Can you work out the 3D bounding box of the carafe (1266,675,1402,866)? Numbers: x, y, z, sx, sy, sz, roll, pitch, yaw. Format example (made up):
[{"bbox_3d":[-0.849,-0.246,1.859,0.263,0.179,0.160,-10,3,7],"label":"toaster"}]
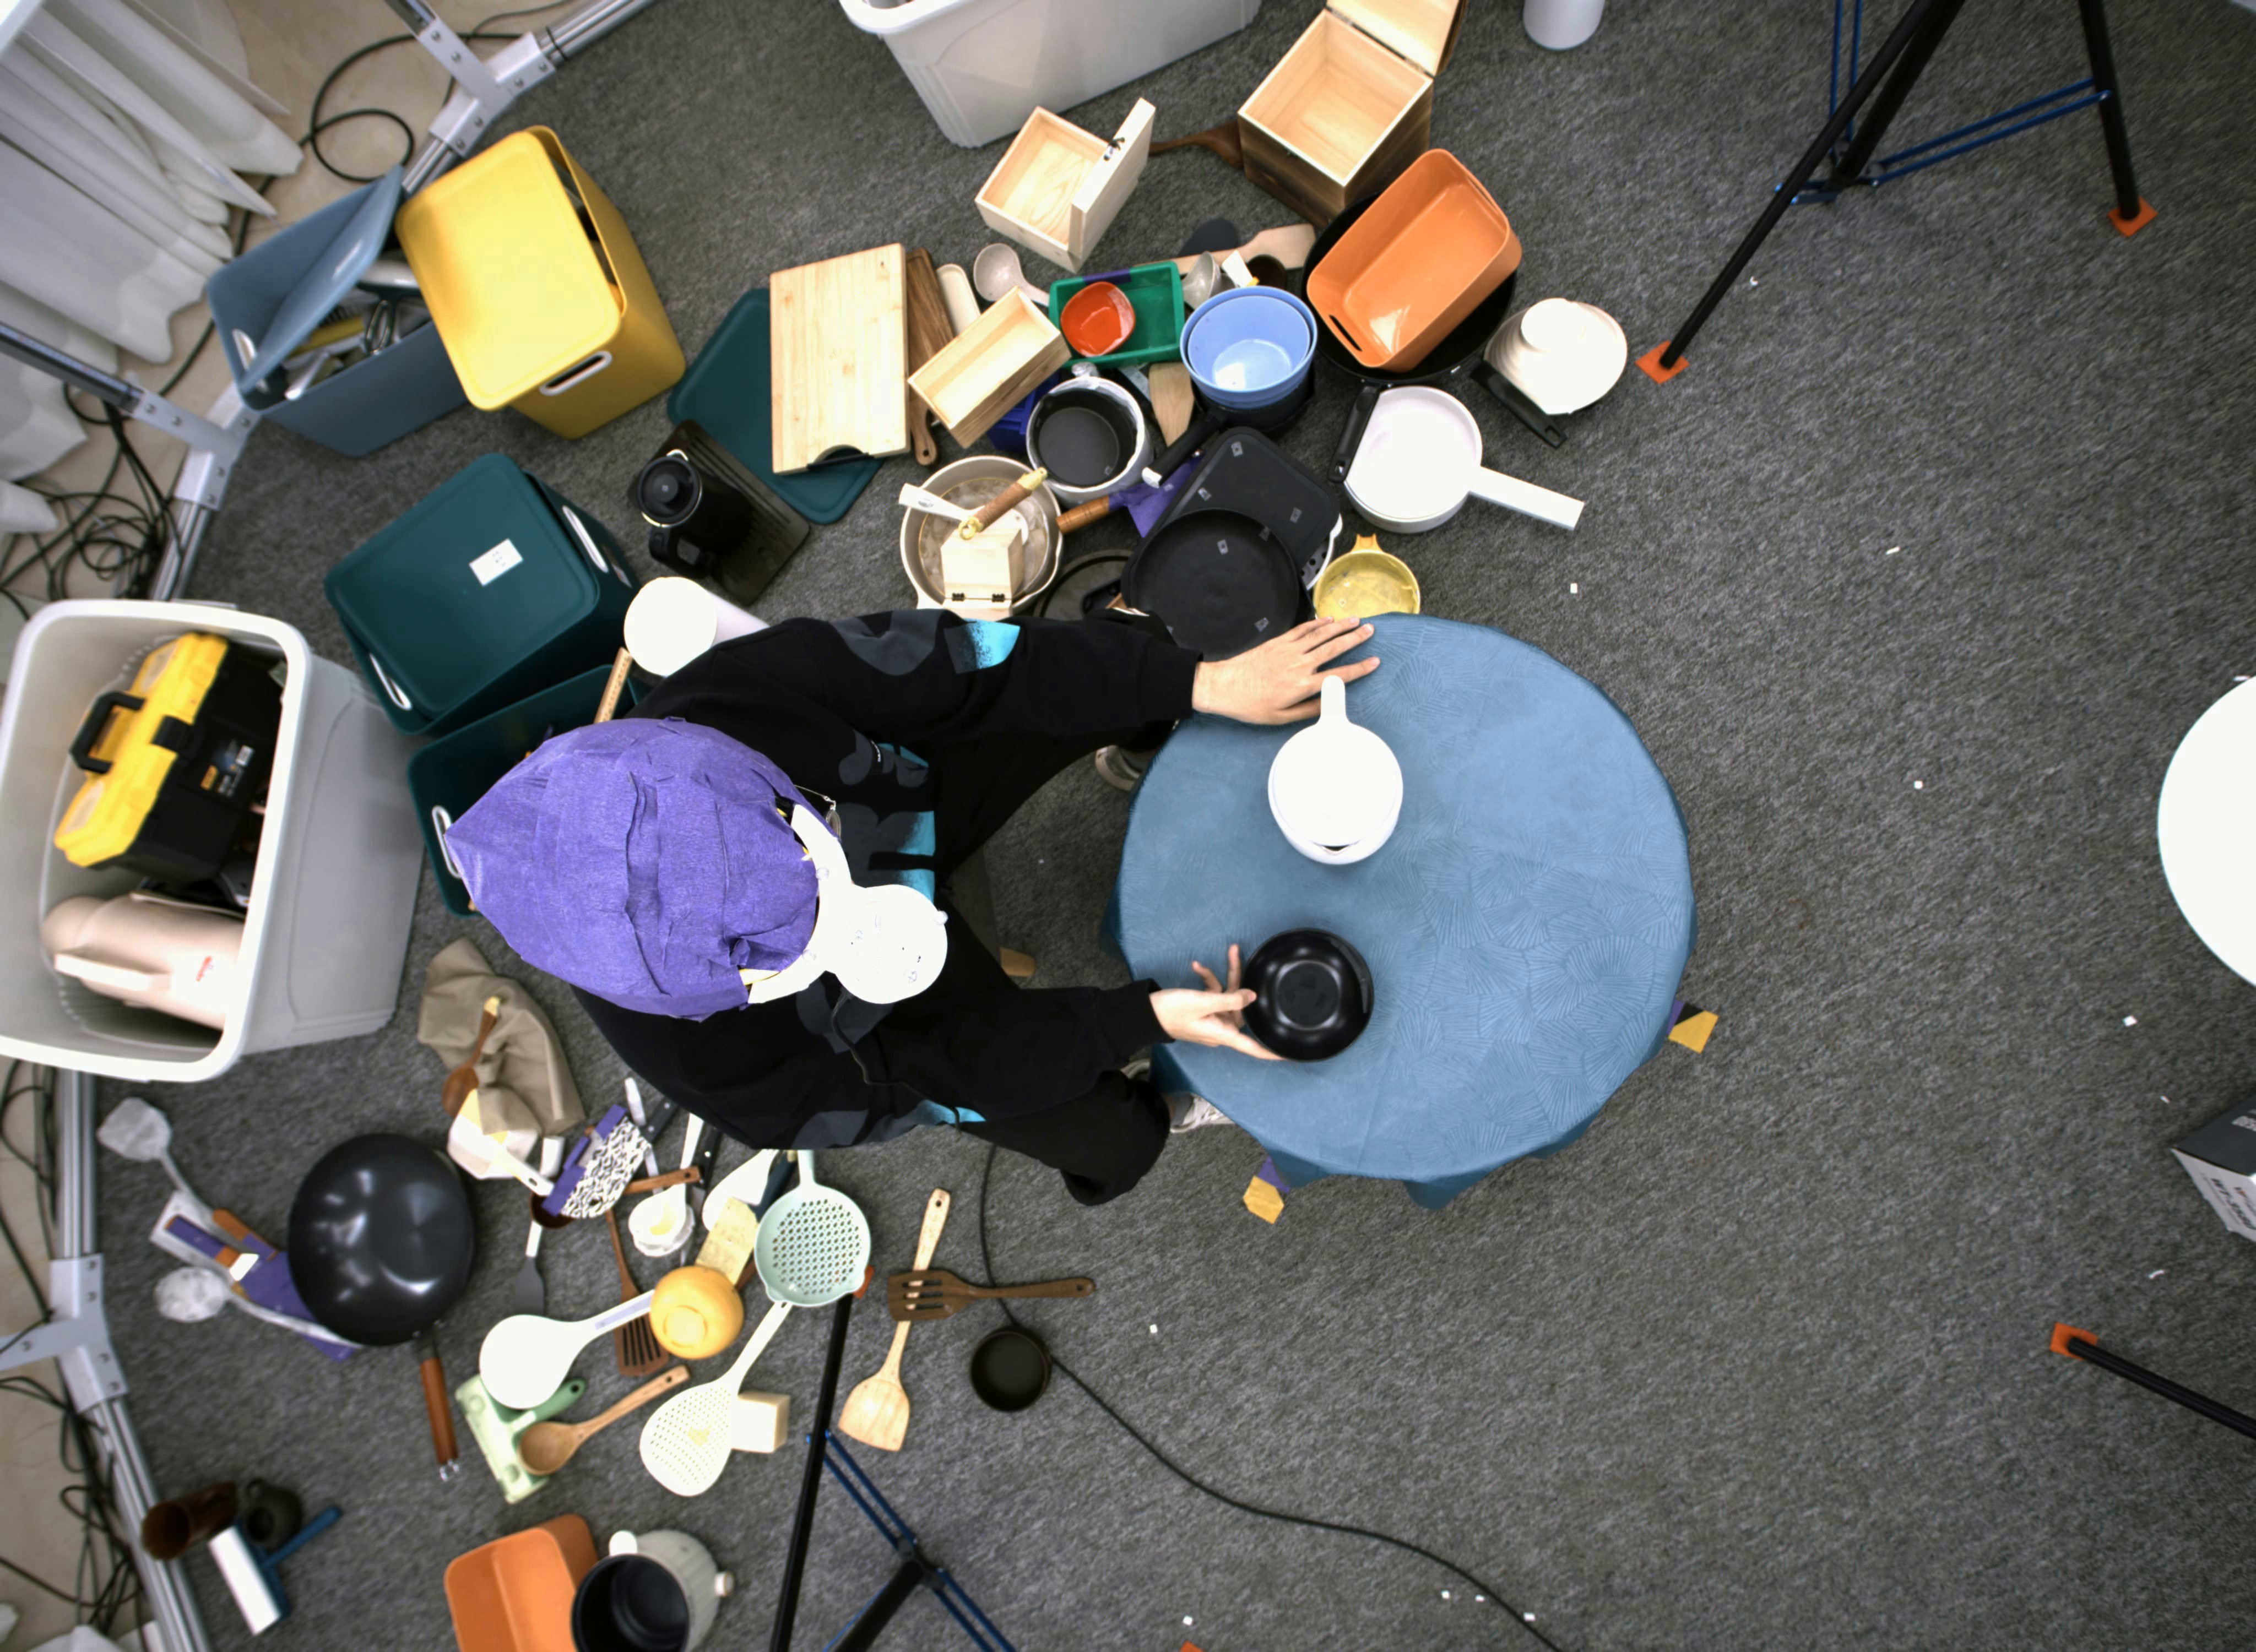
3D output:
[{"bbox_3d":[0.206,-0.057,1.387,0.133,0.183,0.190,-3,83,8],"label":"carafe"}]

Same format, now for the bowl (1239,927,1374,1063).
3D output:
[{"bbox_3d":[0.187,0.174,1.441,0.140,0.050,0.139,-1,86,12],"label":"bowl"}]
